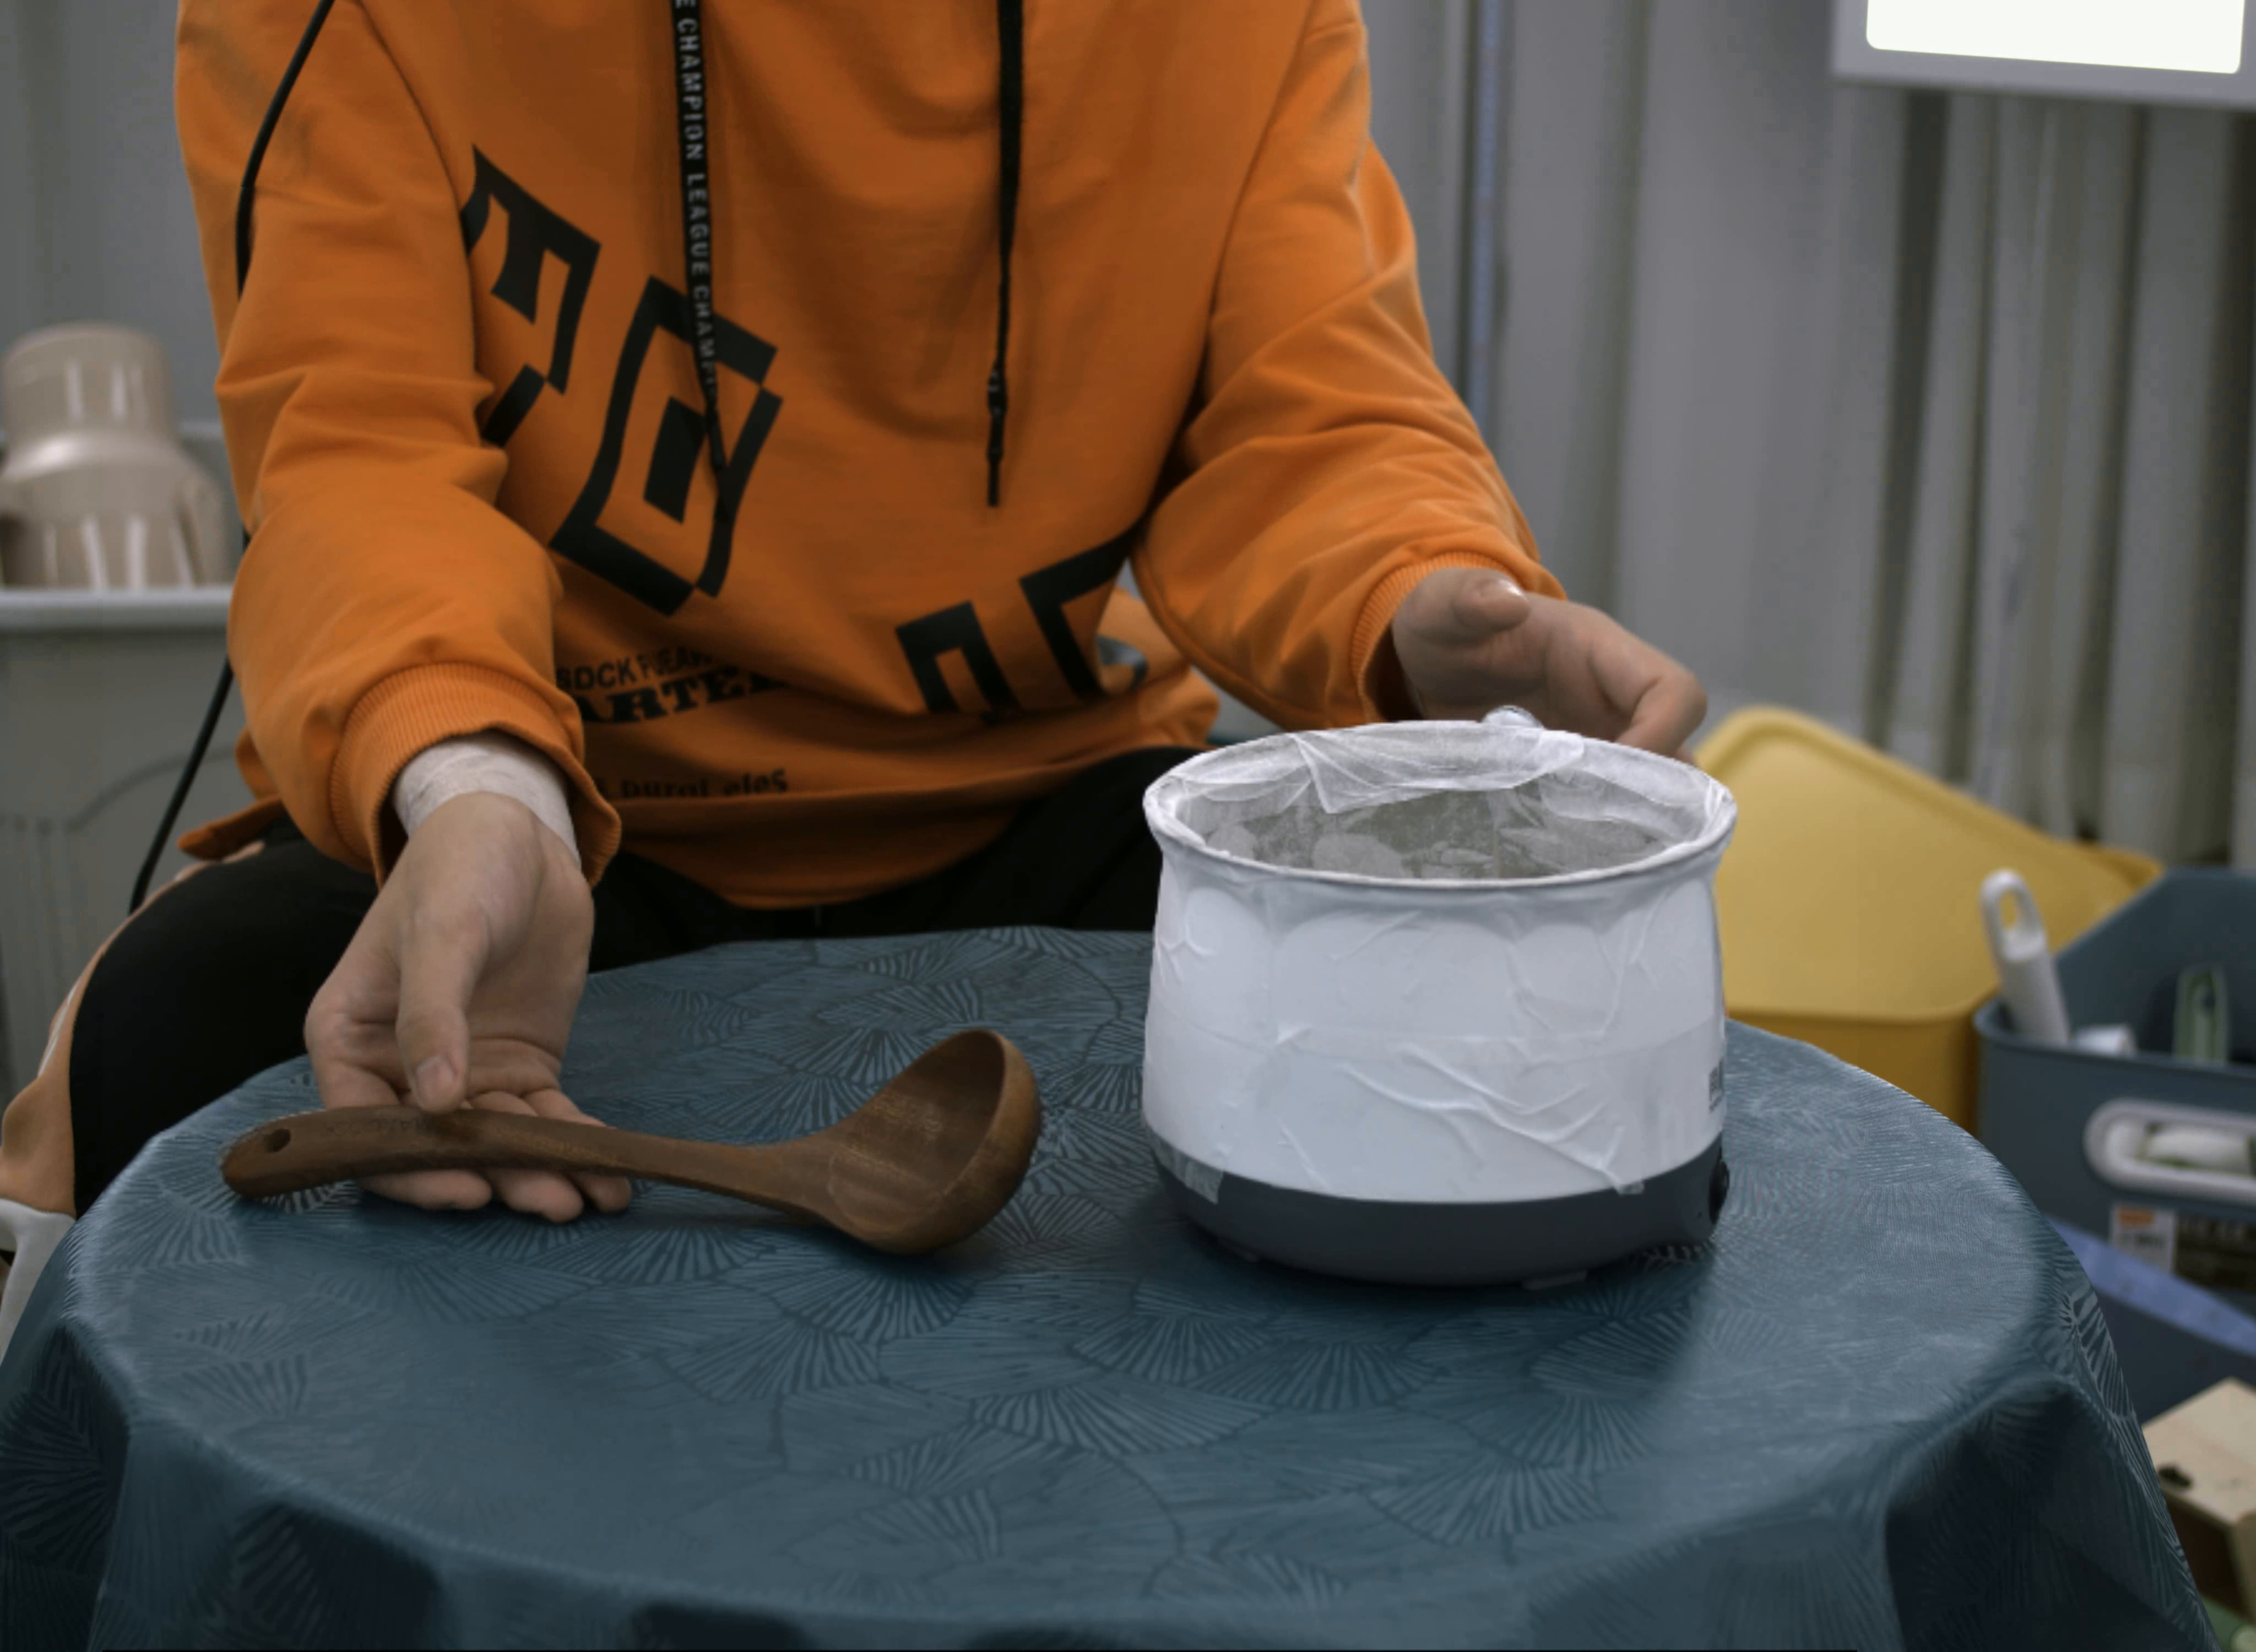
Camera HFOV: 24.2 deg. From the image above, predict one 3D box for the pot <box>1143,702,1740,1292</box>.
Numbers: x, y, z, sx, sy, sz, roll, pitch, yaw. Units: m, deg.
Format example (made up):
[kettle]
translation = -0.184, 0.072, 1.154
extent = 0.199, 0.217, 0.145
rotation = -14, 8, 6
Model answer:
[pot]
translation = 0.099, 0.045, 1.608
extent = 0.177, 0.138, 0.233
rotation = 5, 17, 13

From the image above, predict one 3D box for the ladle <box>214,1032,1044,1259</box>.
[ladle]
translation = -0.153, 0.091, 1.580
extent = 0.259, 0.066, 0.076
rotation = 3, 41, 7
